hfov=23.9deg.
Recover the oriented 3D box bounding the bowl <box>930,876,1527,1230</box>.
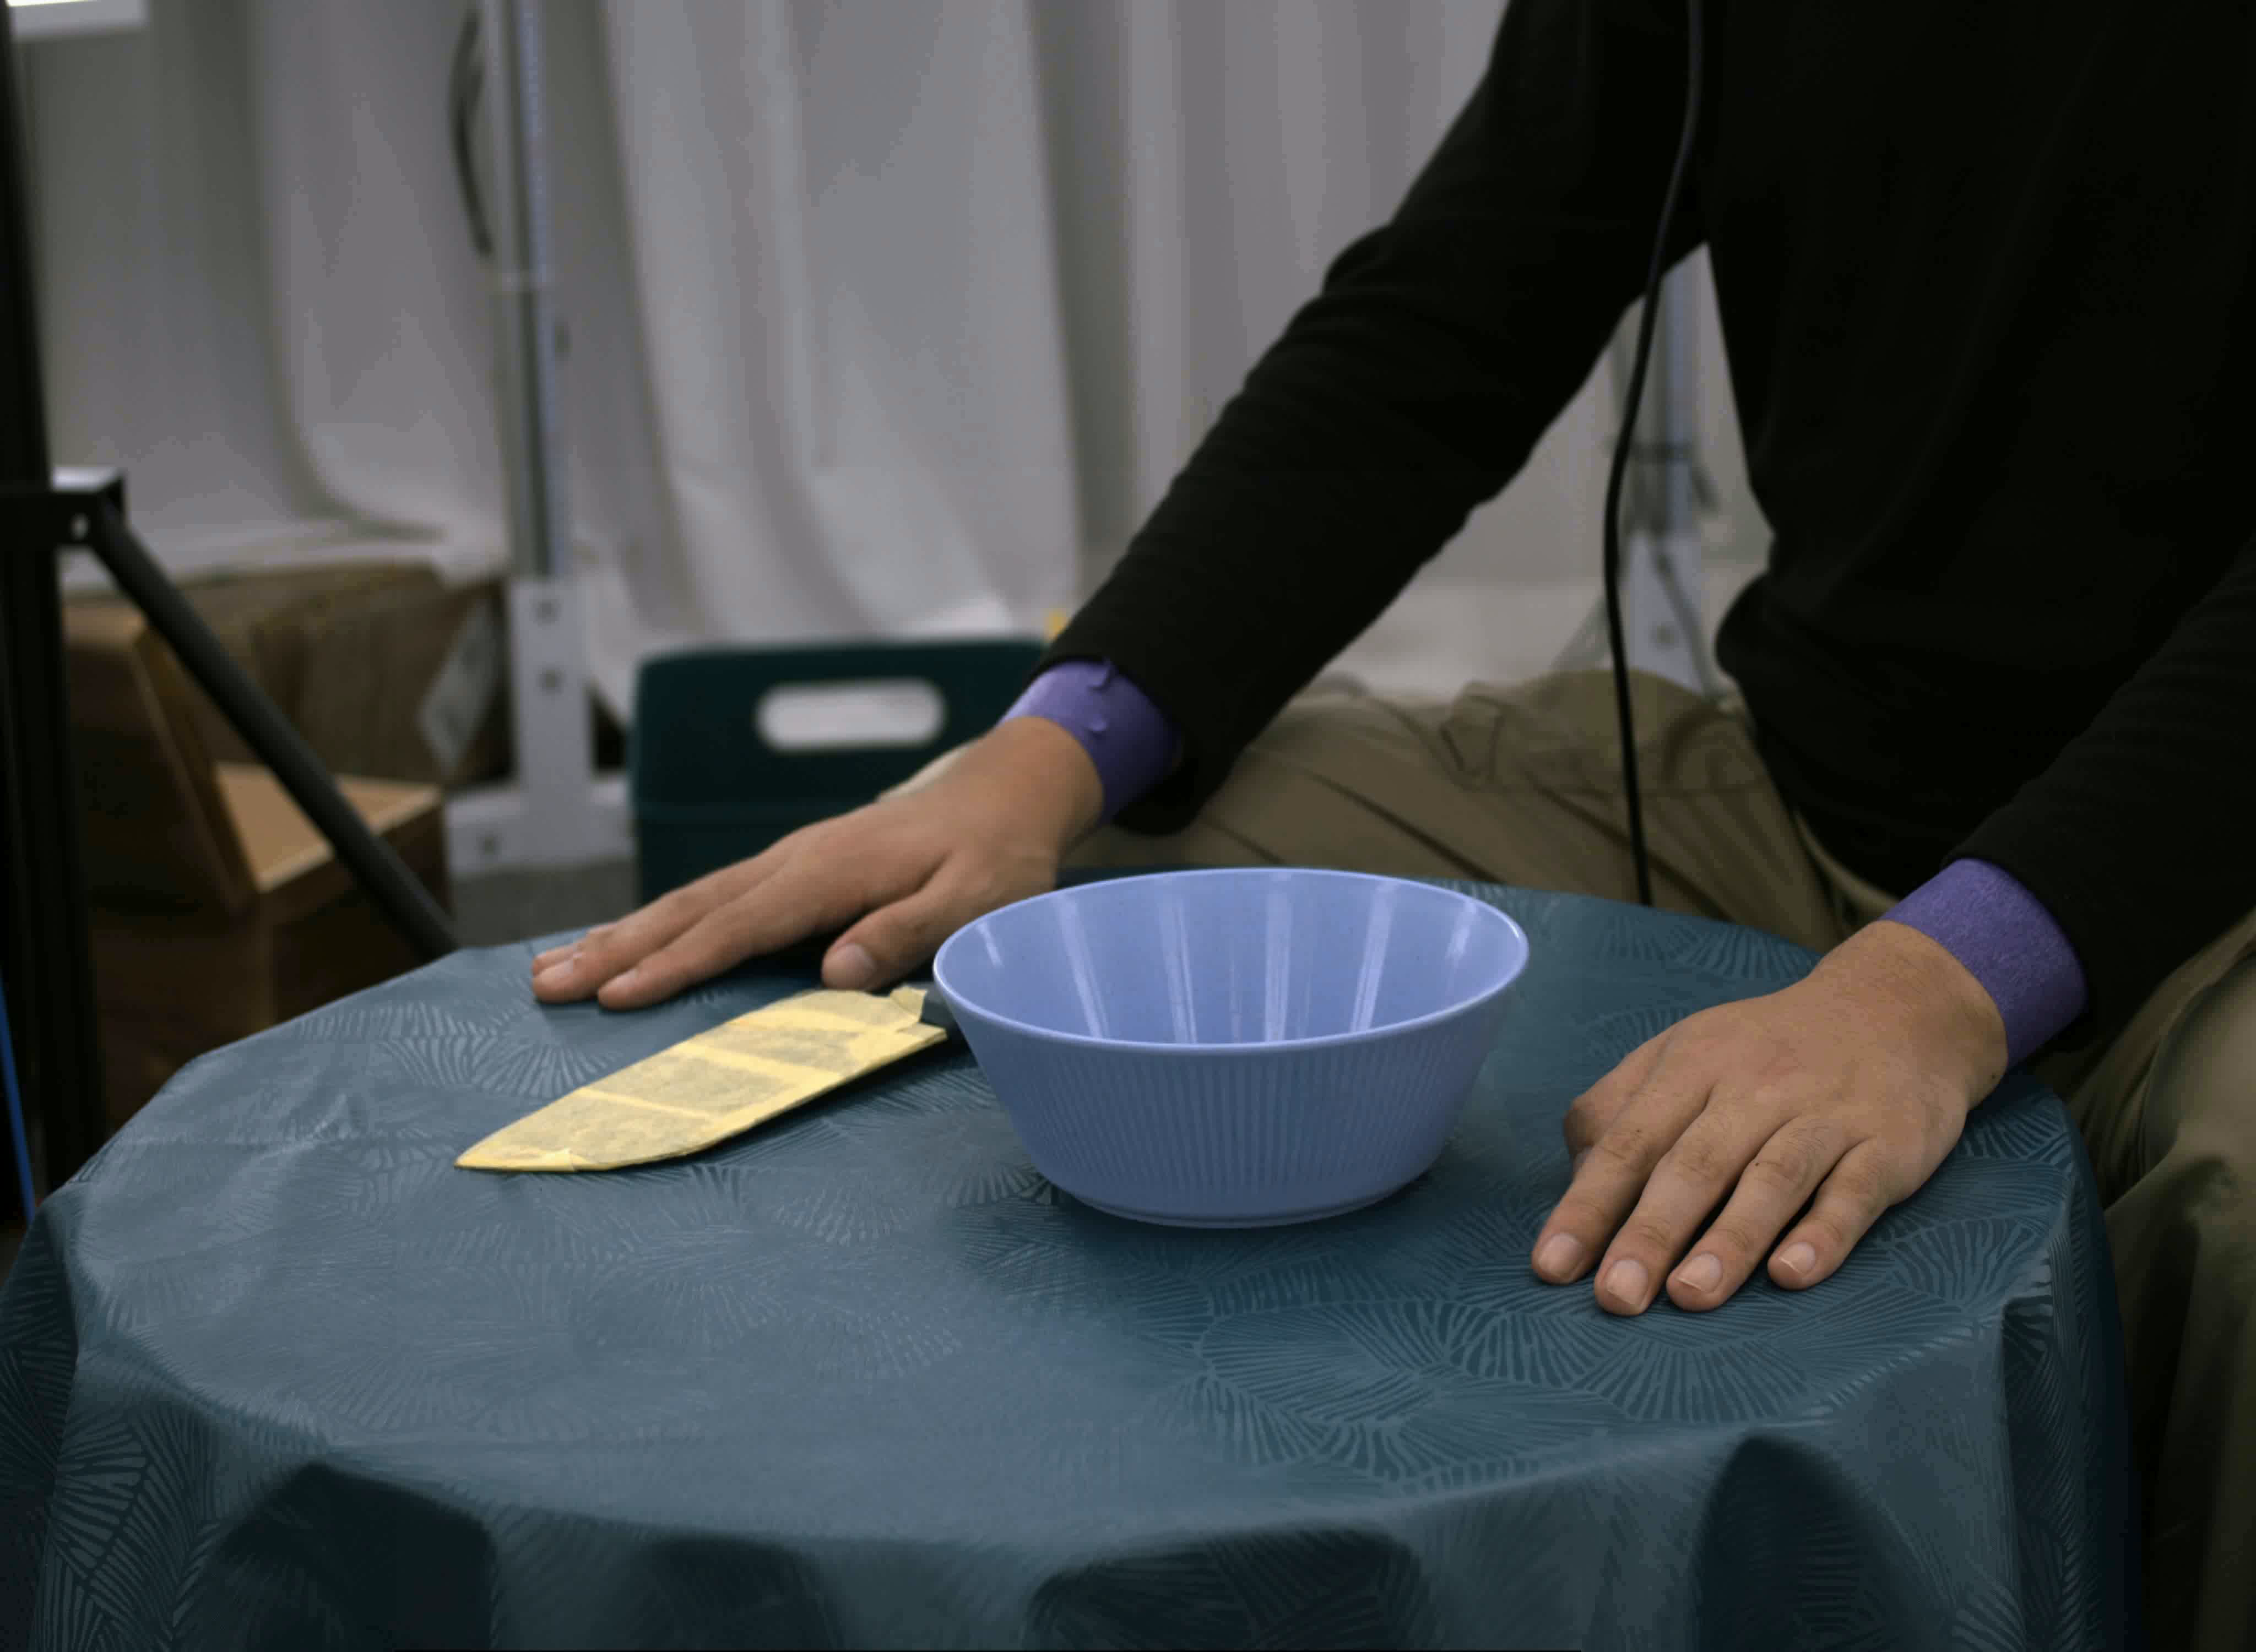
[{"bbox_3d":[0.031,0.069,1.563,0.175,0.070,0.177,-3,15,0],"label":"bowl"}]

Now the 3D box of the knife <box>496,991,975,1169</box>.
[{"bbox_3d":[-0.089,0.066,1.692,0.083,0.027,0.283,14,24,42],"label":"knife"}]
